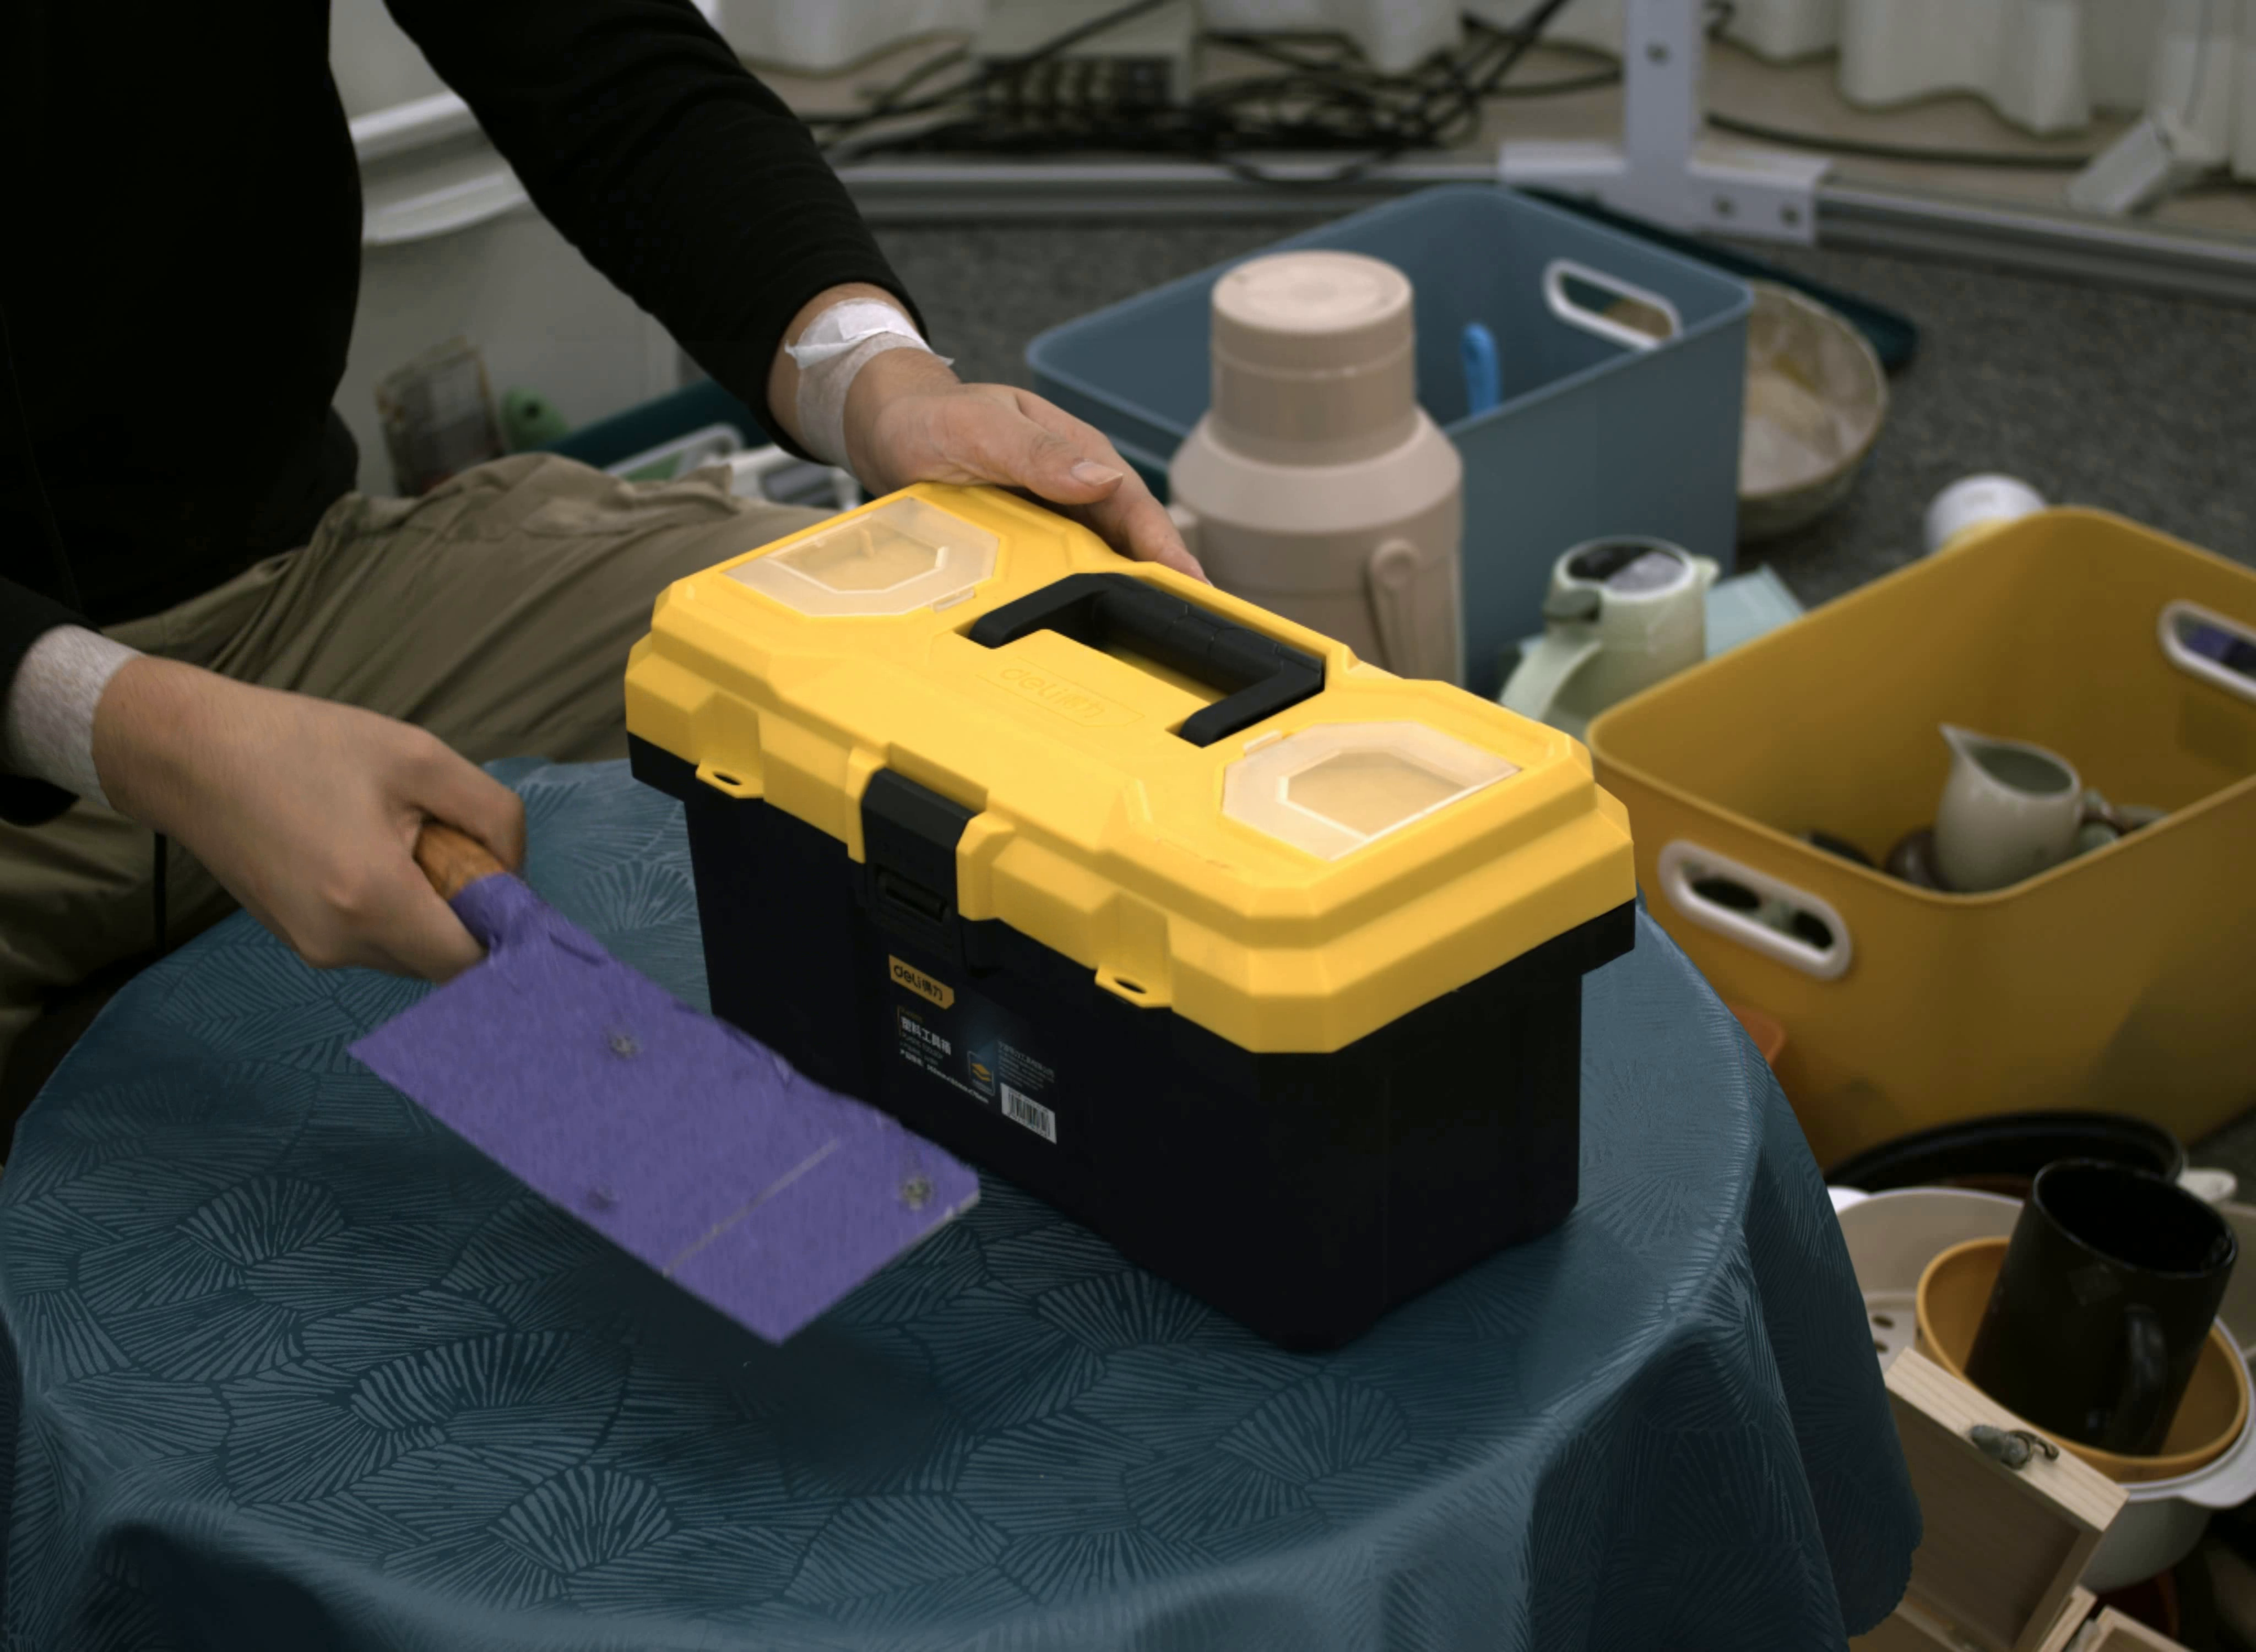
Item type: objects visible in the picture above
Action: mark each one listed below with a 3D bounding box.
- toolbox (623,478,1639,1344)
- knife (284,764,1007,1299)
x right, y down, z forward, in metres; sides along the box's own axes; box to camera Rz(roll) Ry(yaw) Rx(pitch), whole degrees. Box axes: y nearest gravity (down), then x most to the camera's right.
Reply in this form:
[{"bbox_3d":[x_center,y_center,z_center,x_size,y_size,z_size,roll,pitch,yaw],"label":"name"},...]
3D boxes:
[{"bbox_3d":[-0.004,0.023,1.866,0.183,0.171,0.351,-23,33,-35],"label":"toolbox"},{"bbox_3d":[-0.182,0.062,1.787,0.315,0.032,0.105,26,45,37],"label":"knife"}]
